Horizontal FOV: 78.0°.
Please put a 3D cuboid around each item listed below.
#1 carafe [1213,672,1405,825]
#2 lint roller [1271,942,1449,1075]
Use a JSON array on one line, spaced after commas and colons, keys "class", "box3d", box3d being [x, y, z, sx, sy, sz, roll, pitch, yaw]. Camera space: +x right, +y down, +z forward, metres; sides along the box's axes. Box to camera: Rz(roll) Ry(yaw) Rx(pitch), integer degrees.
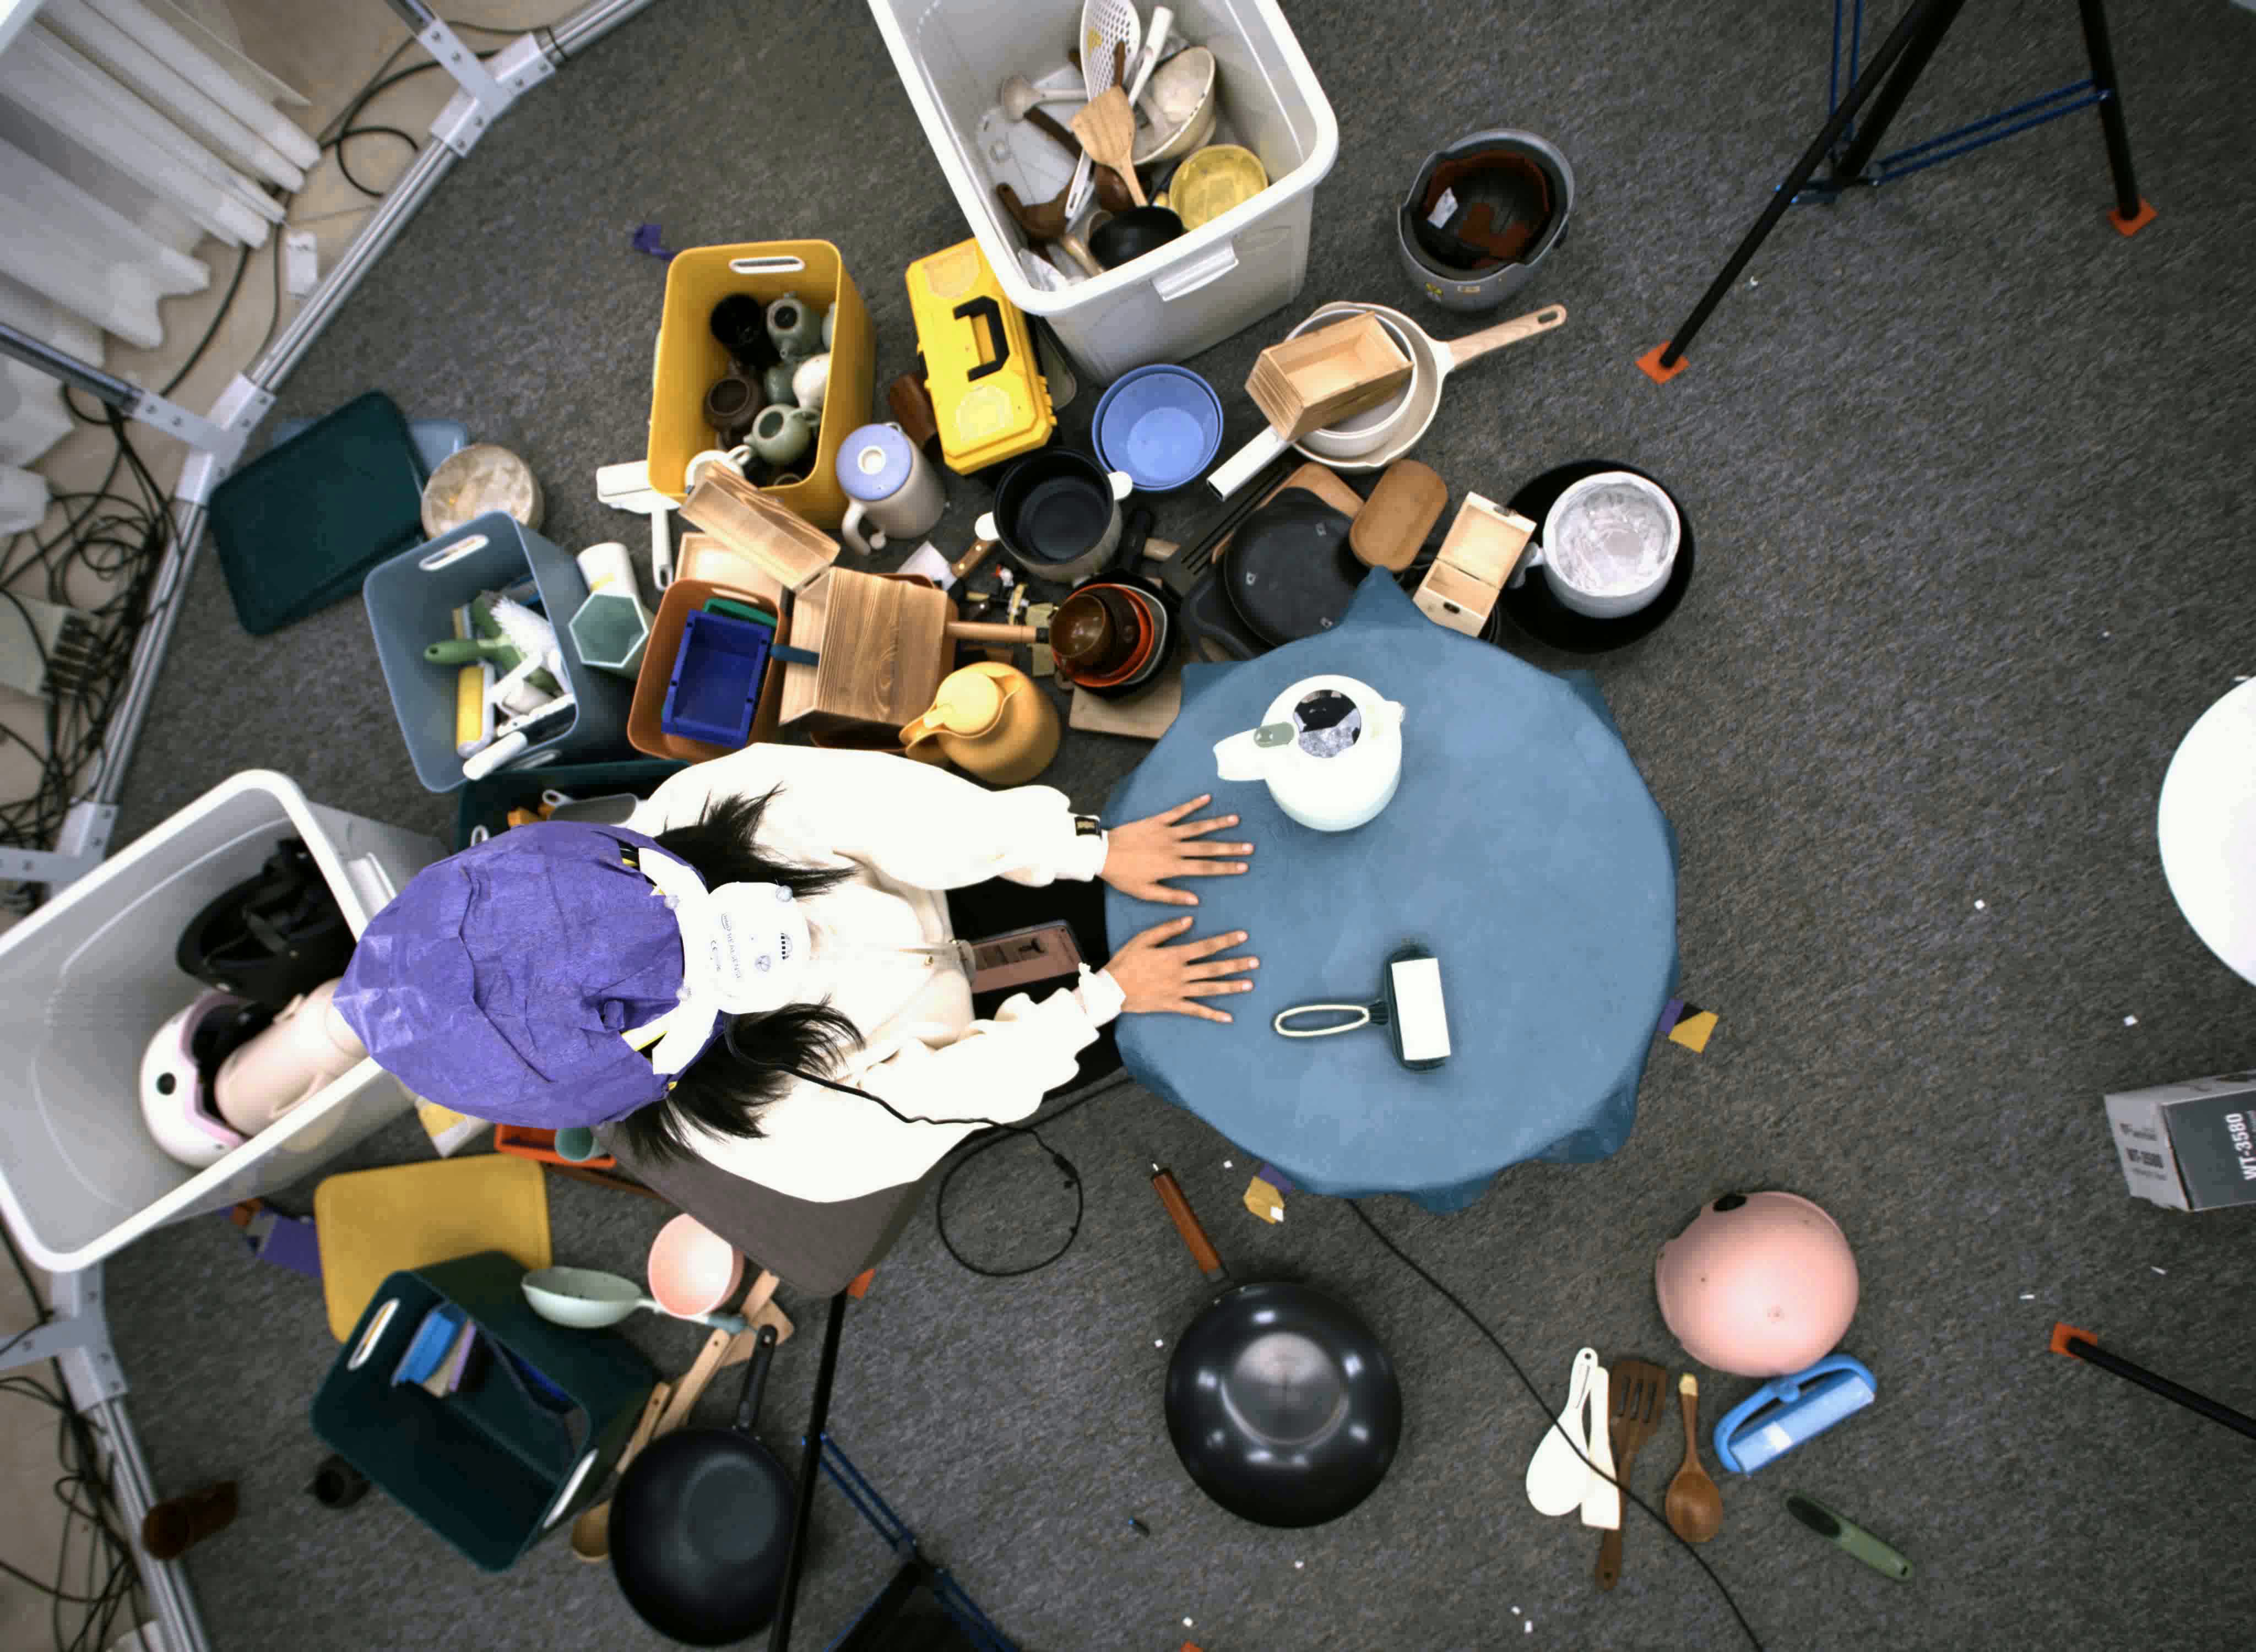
[{"class": "carafe", "box3d": [0.184, -0.079, 1.358, 0.188, 0.256, 0.143, -11, 85, 13]}, {"class": "lint roller", "box3d": [0.236, 0.195, 1.435, 0.181, 0.048, 0.133, -7, 85, 10]}]
